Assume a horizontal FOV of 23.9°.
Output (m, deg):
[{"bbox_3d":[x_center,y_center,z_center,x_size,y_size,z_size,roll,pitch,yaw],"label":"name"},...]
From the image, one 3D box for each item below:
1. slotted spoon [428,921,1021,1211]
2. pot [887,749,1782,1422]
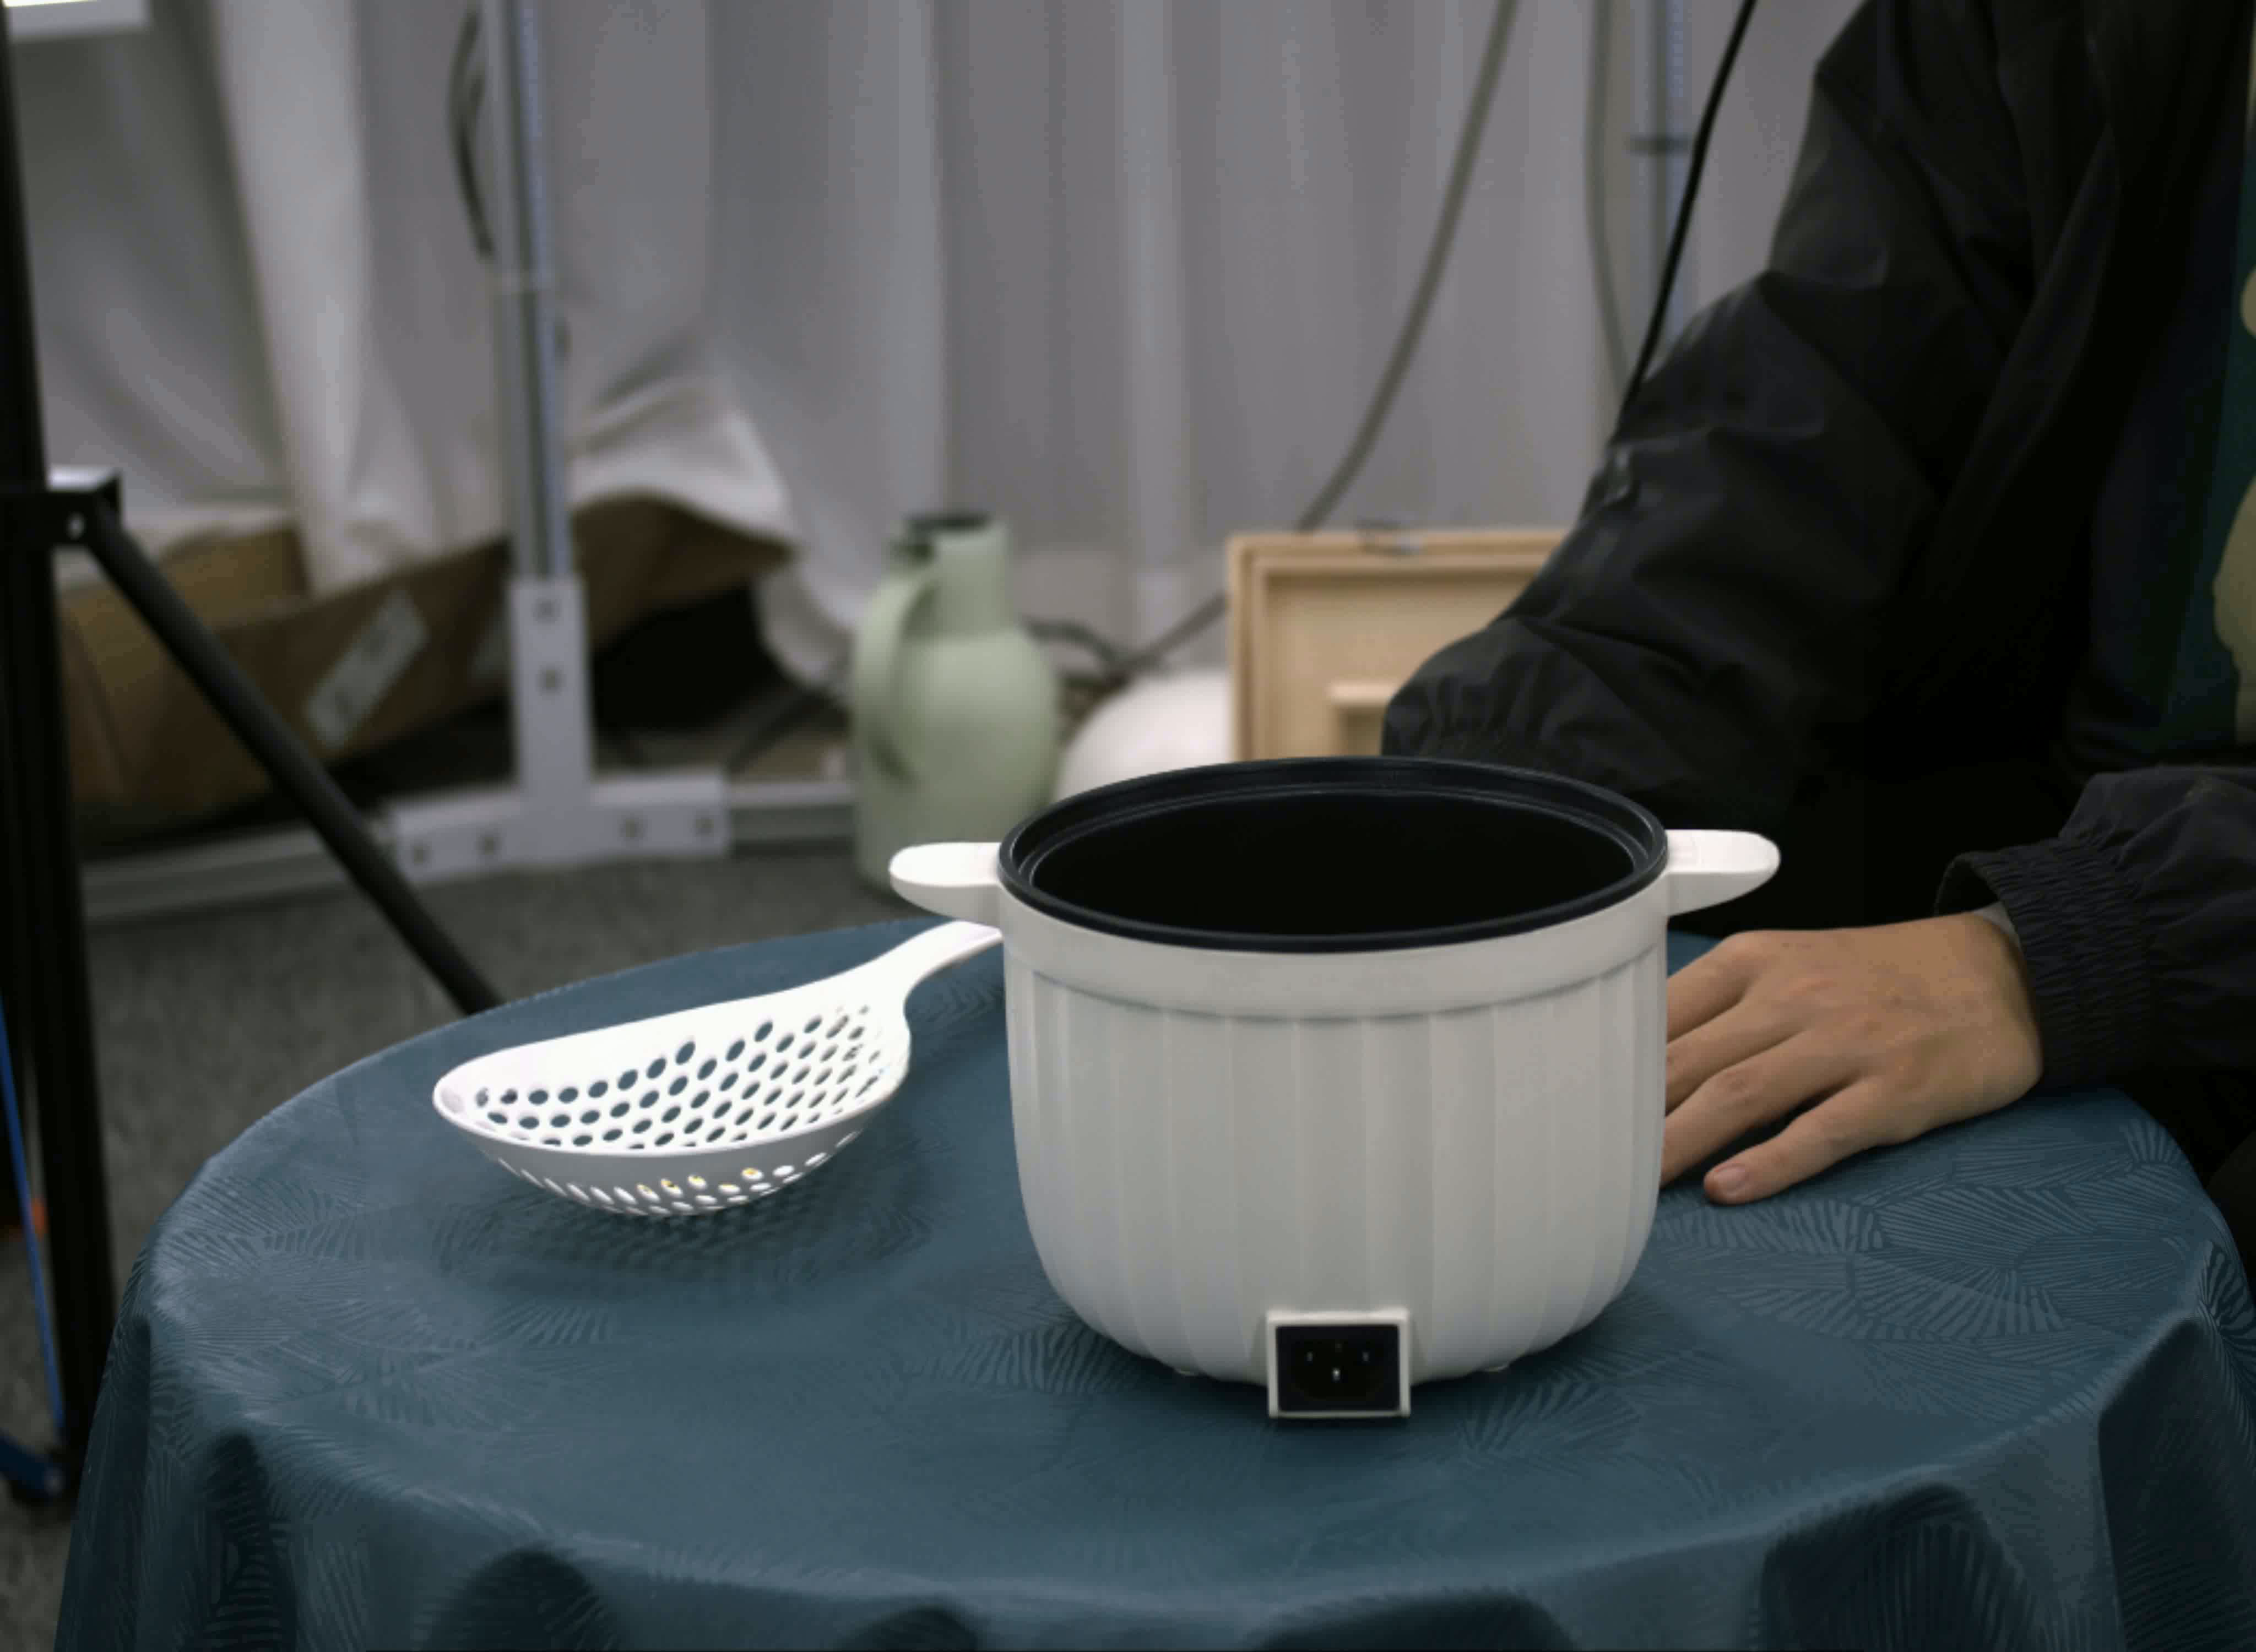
[{"bbox_3d":[-0.088,0.062,1.658,0.139,0.050,0.343,3,17,25],"label":"slotted spoon"},{"bbox_3d":[0.055,0.067,1.444,0.240,0.142,0.191,0,18,4],"label":"pot"}]
